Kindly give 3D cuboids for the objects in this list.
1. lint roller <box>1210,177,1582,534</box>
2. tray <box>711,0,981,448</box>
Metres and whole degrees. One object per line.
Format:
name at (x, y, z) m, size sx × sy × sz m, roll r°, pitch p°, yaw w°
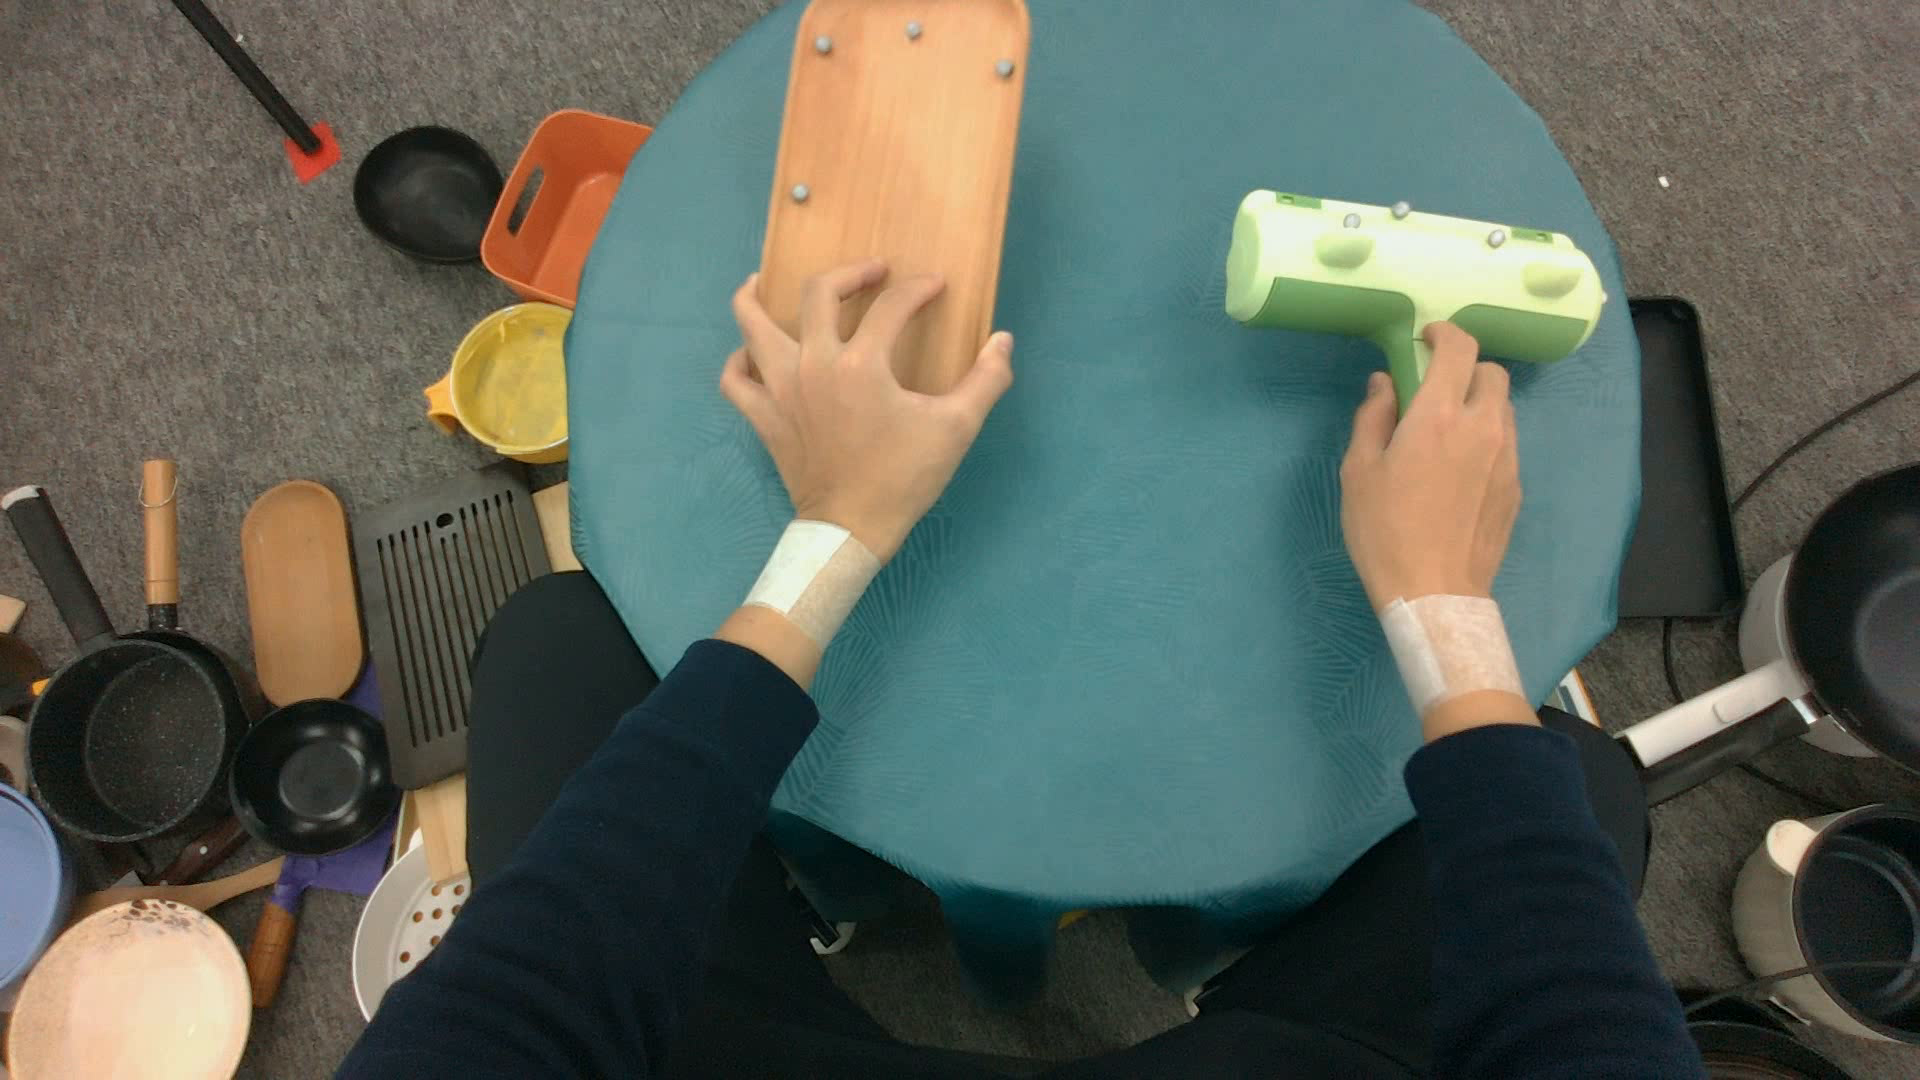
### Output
lint roller at (0.233, -0.099, 0.694) m, size 0.199 × 0.082 × 0.184 m, roll 4°, pitch 63°, yaw -13°
tray at (-0.058, -0.170, 0.726) m, size 0.130 × 0.023 × 0.251 m, roll 3°, pitch 81°, yaw 11°
